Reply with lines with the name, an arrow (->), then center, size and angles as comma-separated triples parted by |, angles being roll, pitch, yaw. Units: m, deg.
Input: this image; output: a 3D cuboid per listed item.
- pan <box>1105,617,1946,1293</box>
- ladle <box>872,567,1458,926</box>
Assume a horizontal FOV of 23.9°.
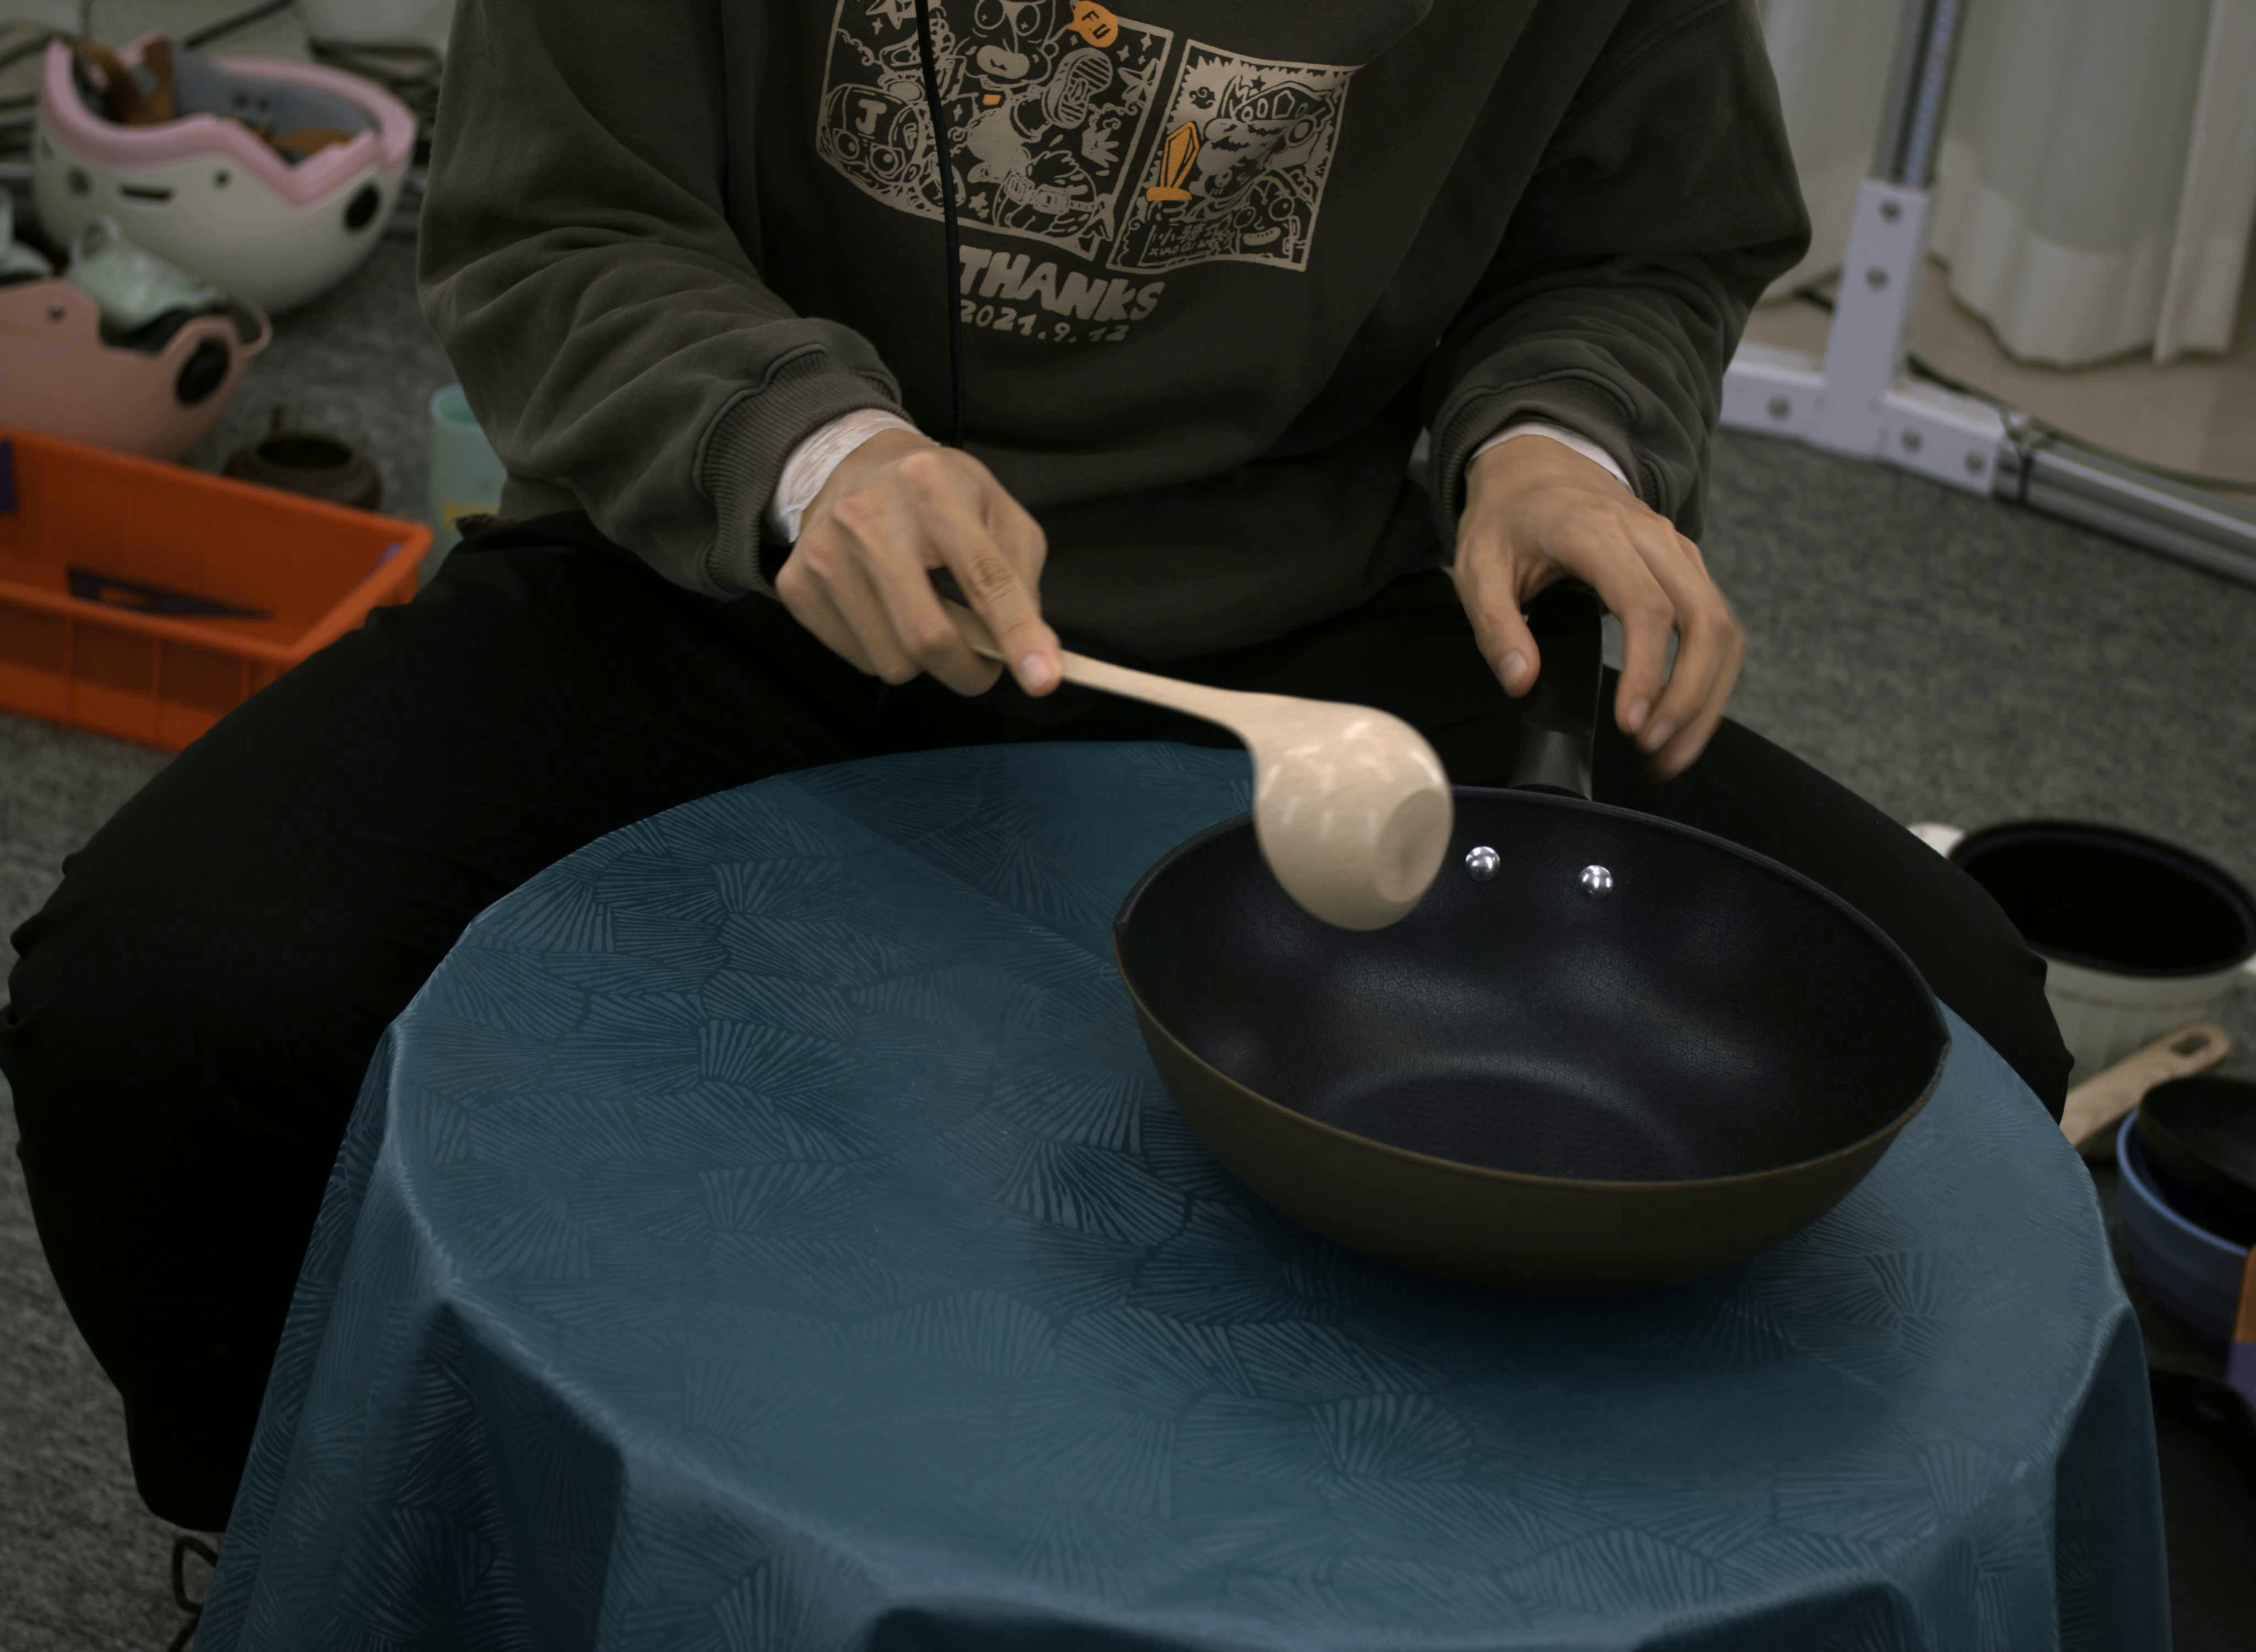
pan -> 0.141, 0.046, 1.900 | 0.287, 0.086, 0.465 | 8, 25, 4
ladle -> 0.007, -0.029, 1.822 | 0.072, 0.072, 0.256 | -37, 37, -30
